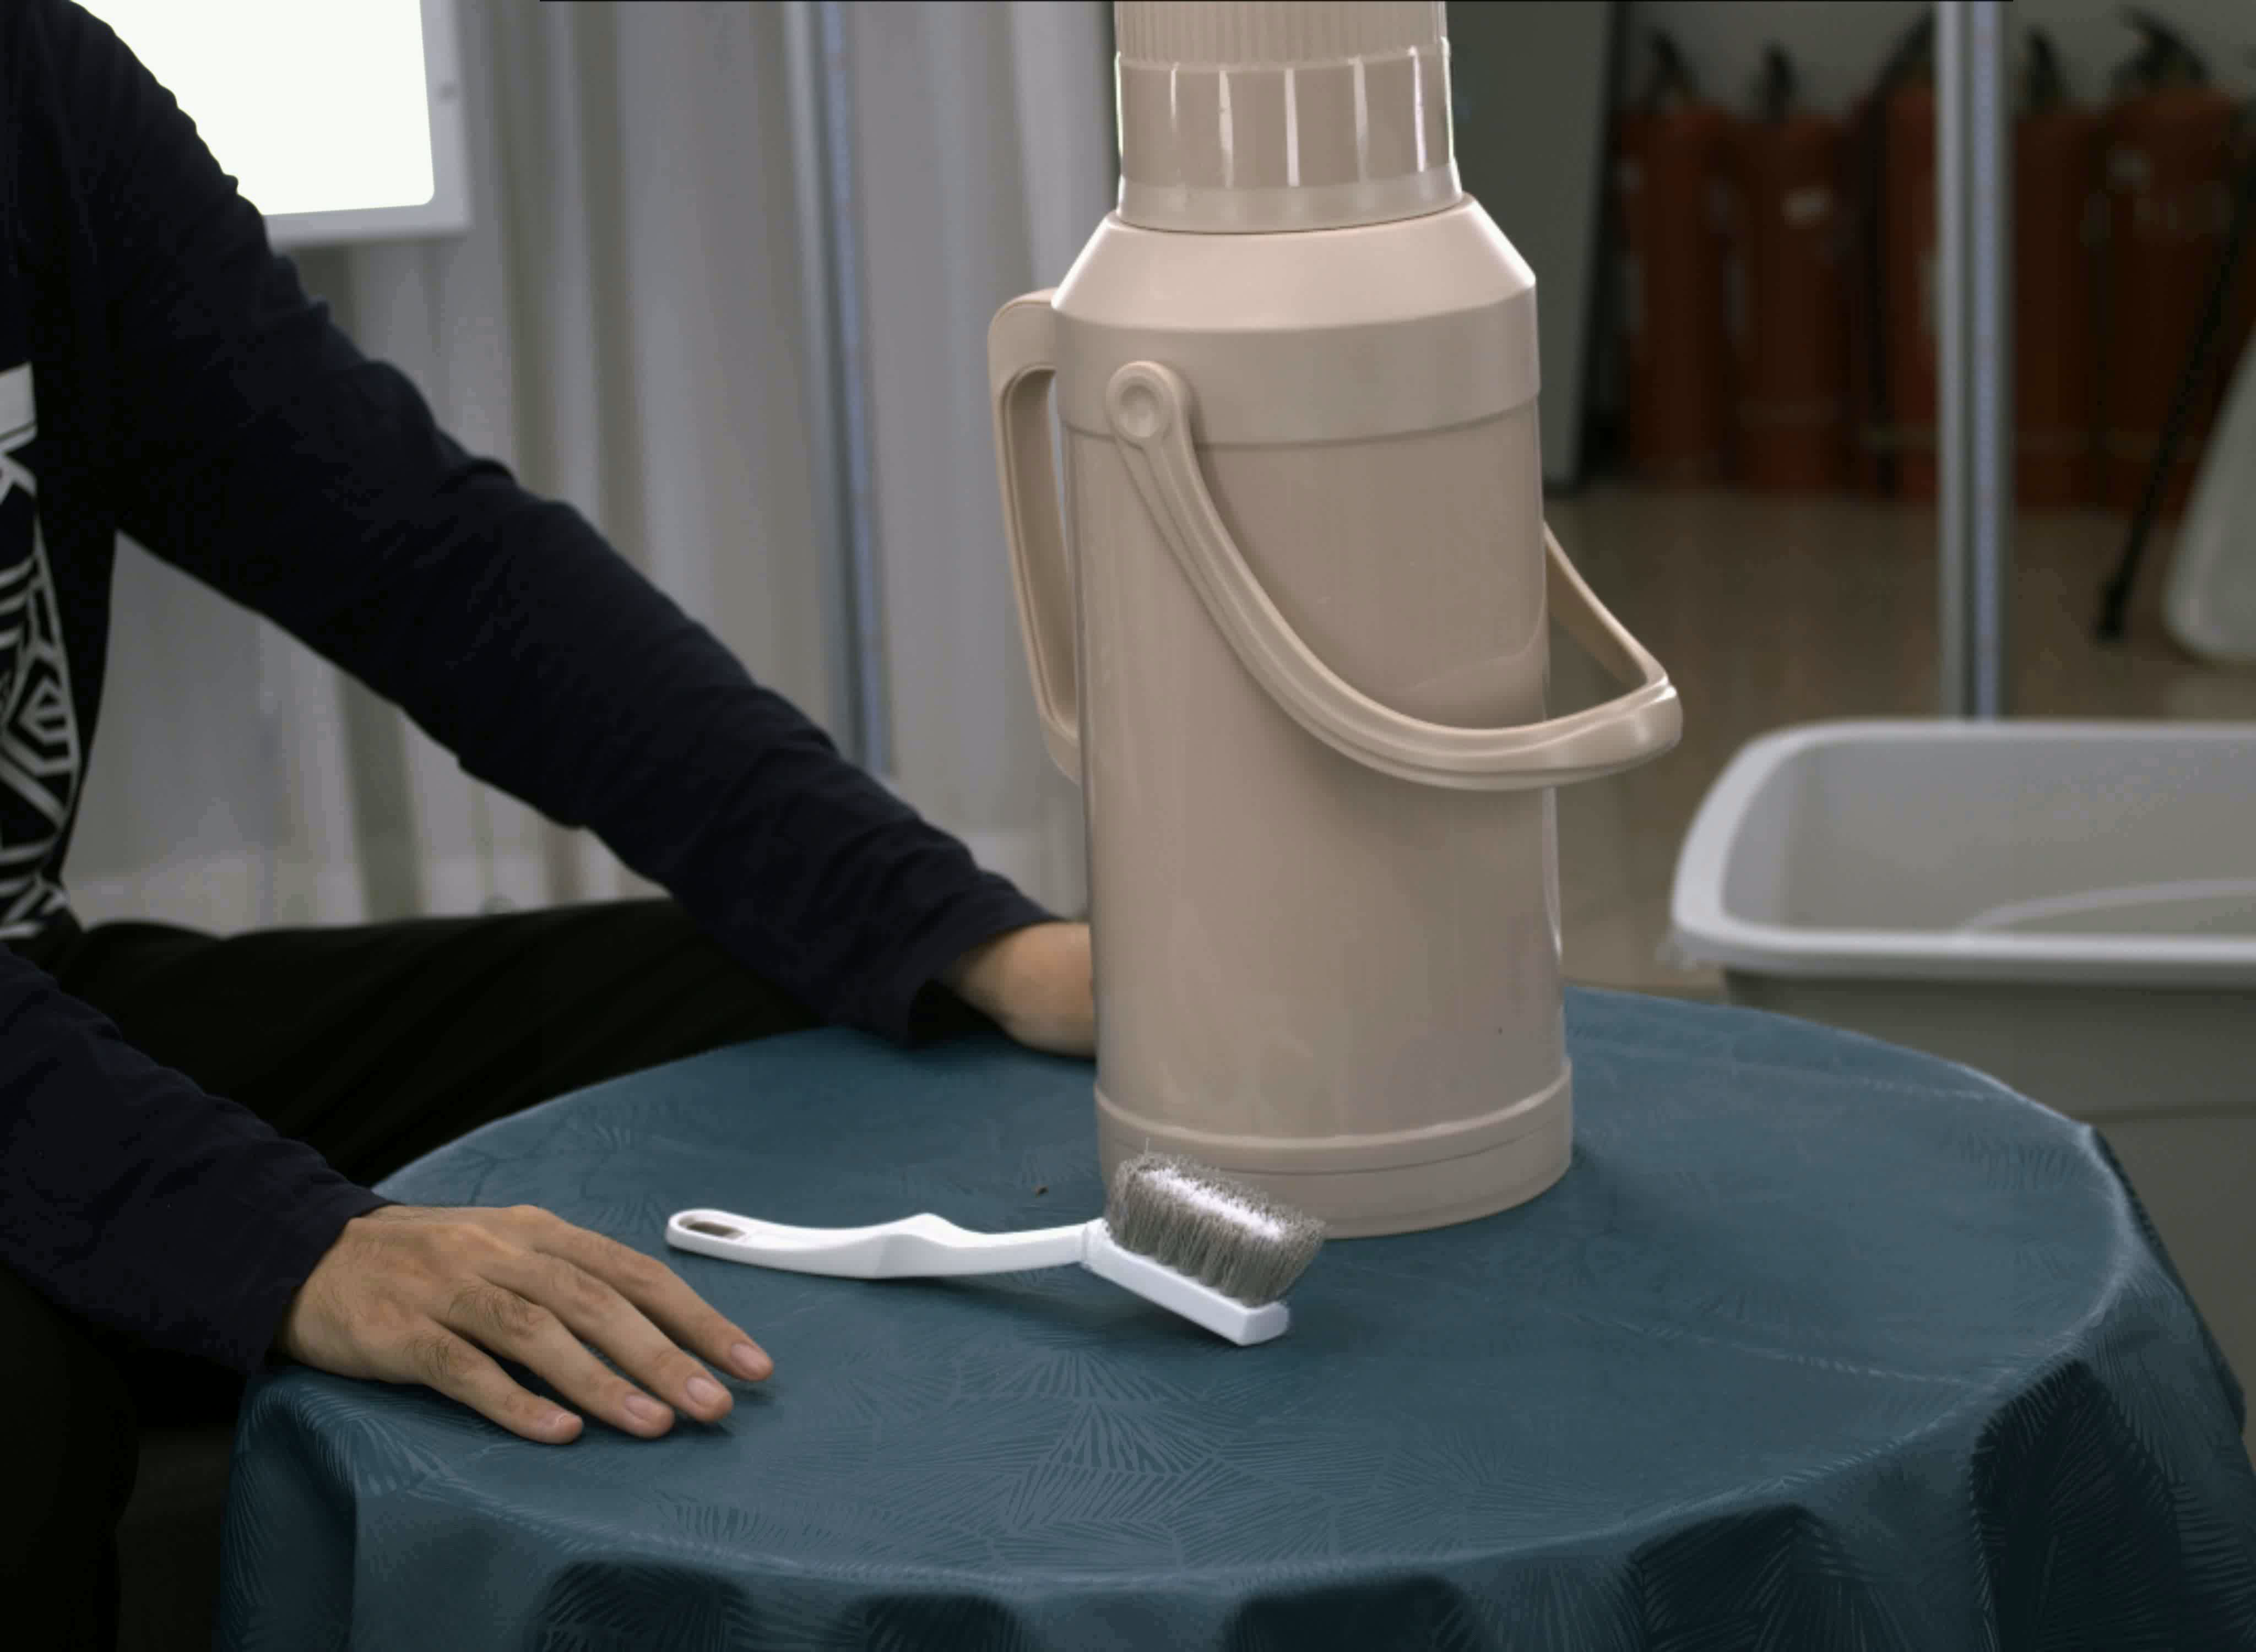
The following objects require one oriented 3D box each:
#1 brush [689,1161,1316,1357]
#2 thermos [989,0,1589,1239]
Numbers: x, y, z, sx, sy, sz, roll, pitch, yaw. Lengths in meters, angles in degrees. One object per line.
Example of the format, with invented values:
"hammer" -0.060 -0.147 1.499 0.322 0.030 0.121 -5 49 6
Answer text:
"brush" -0.045 0.123 1.683 0.245 0.051 0.034 7 22 38
"thermos" 0.049 -0.082 1.751 0.208 0.410 0.172 5 18 36
